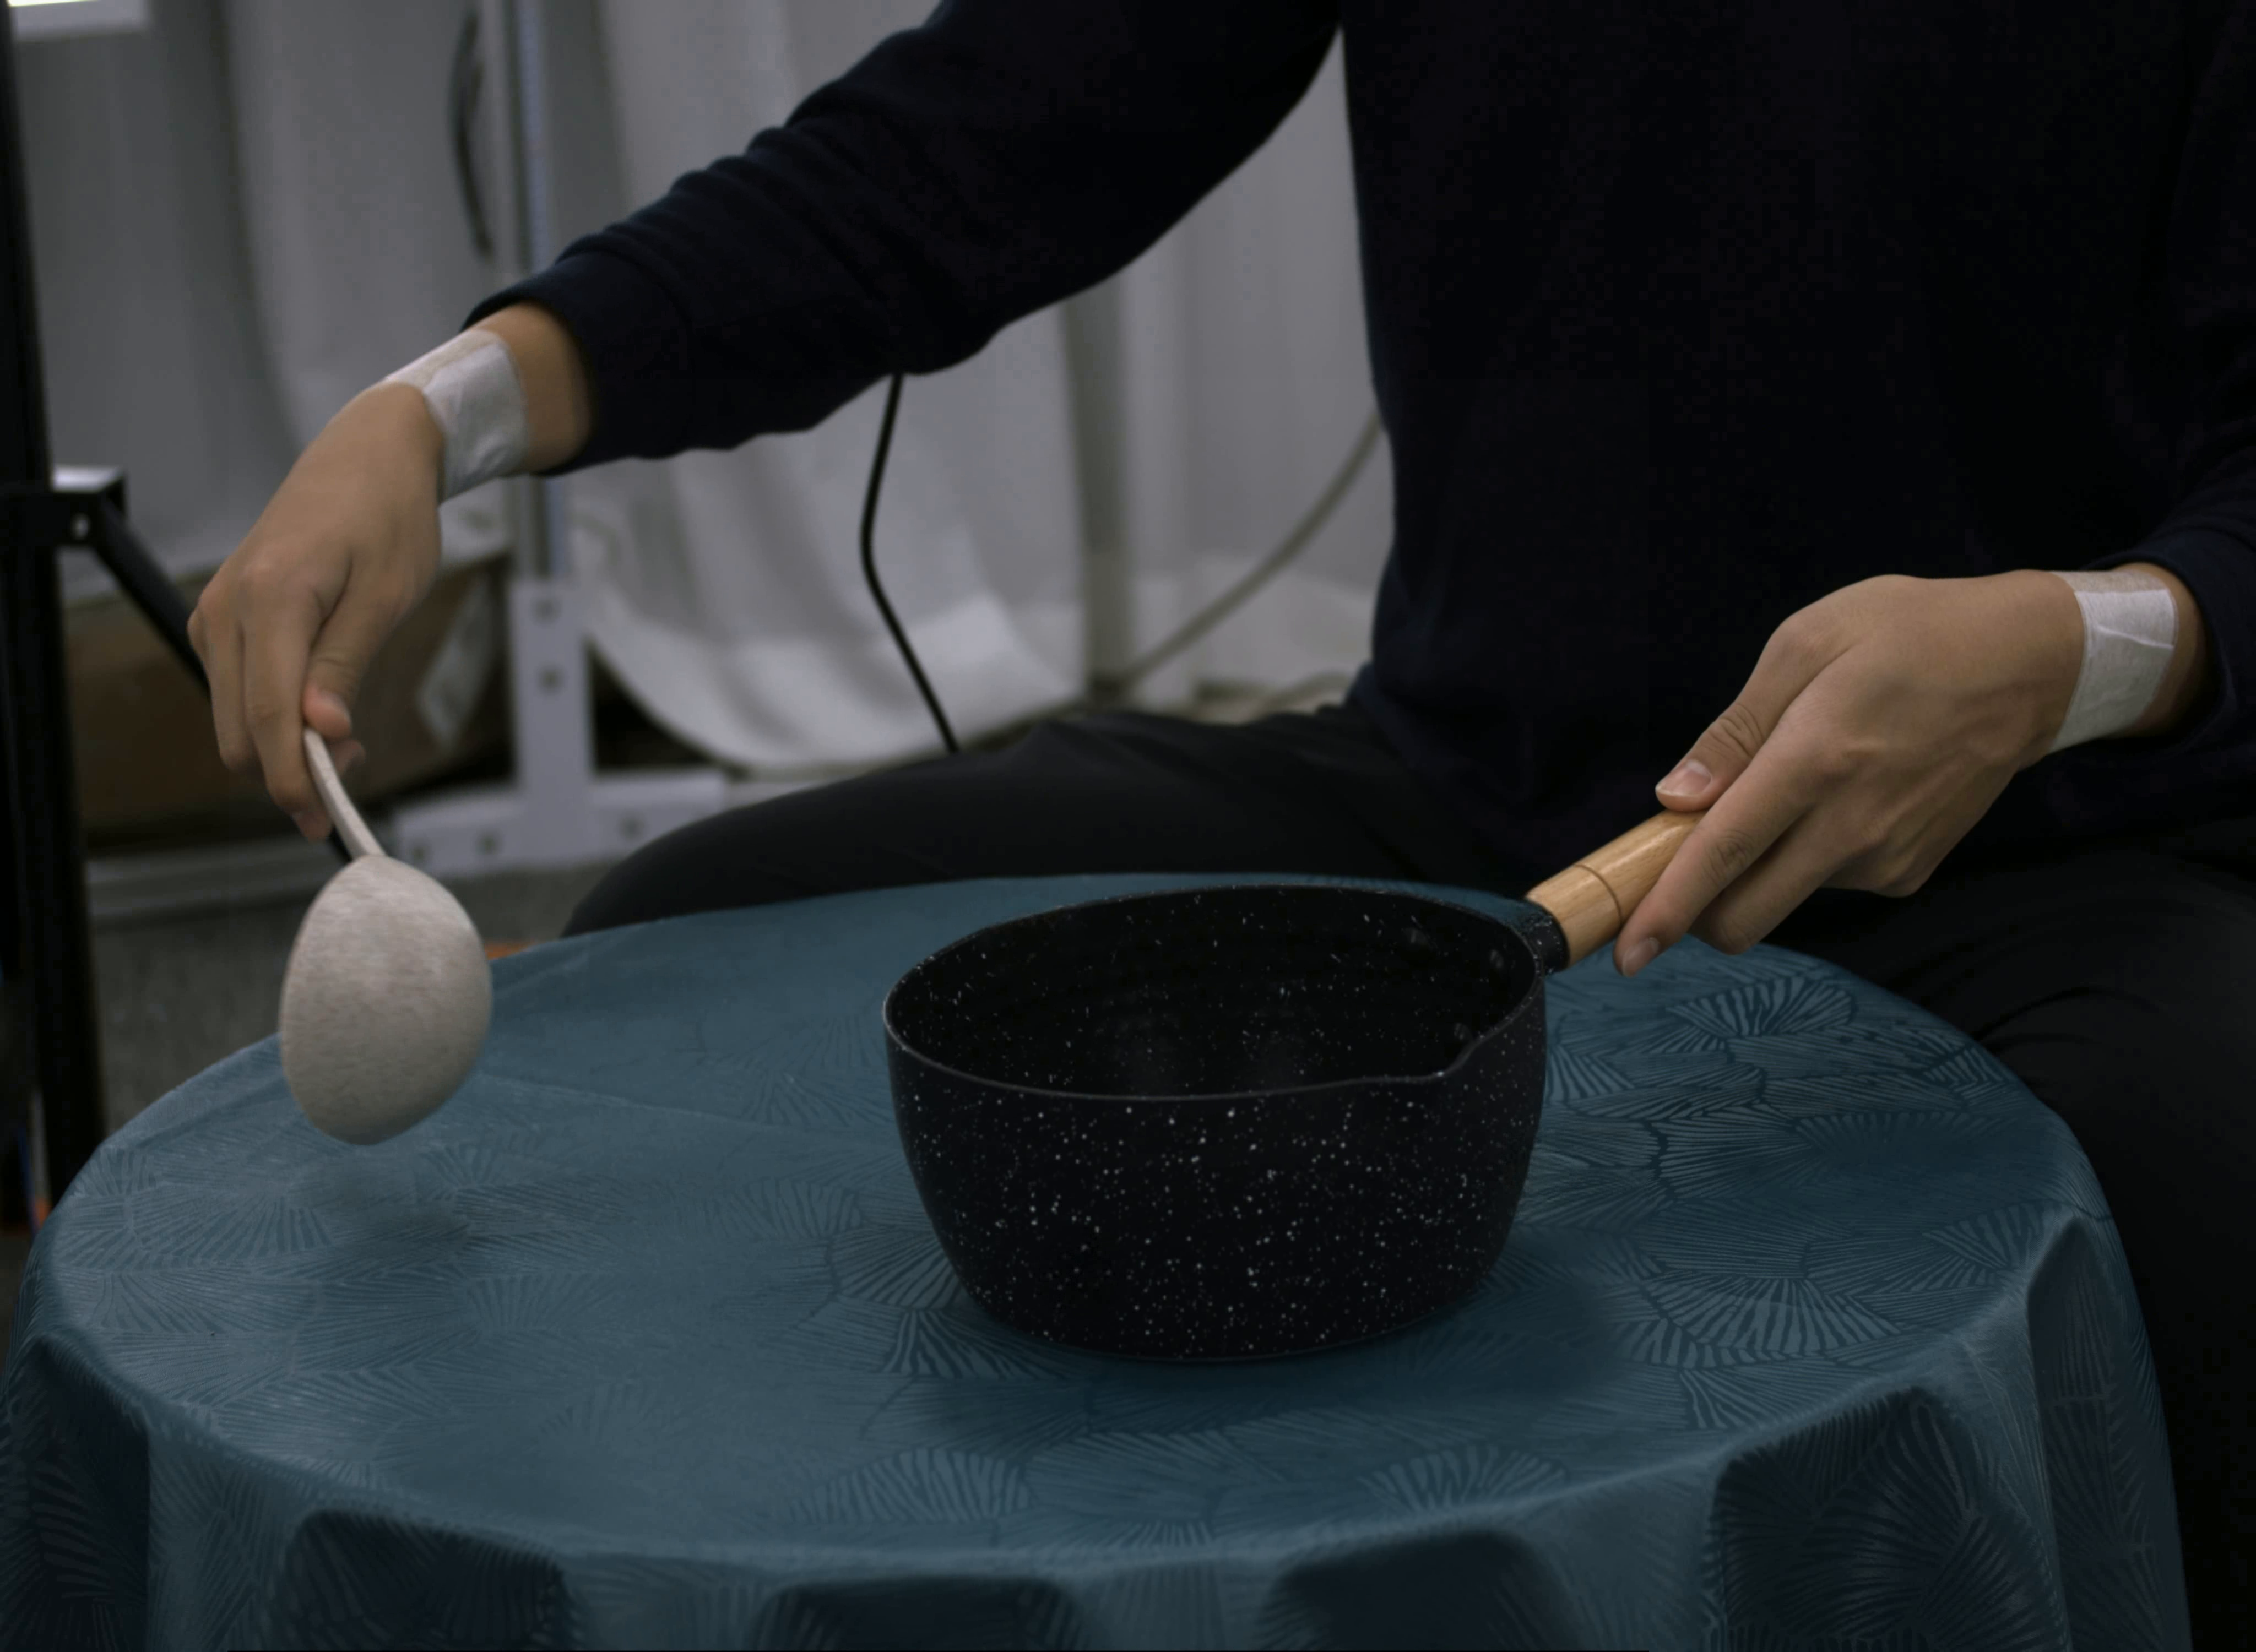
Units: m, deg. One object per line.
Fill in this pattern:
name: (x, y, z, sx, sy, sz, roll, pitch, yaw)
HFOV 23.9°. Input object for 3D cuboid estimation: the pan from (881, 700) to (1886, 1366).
pan: (0.088, 0.054, 1.517, 0.335, 0.108, 0.212, -17, 20, -33)

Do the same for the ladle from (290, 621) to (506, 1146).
ladle: (-0.253, 0.005, 1.652, 0.068, 0.088, 0.280, -21, 31, -12)
